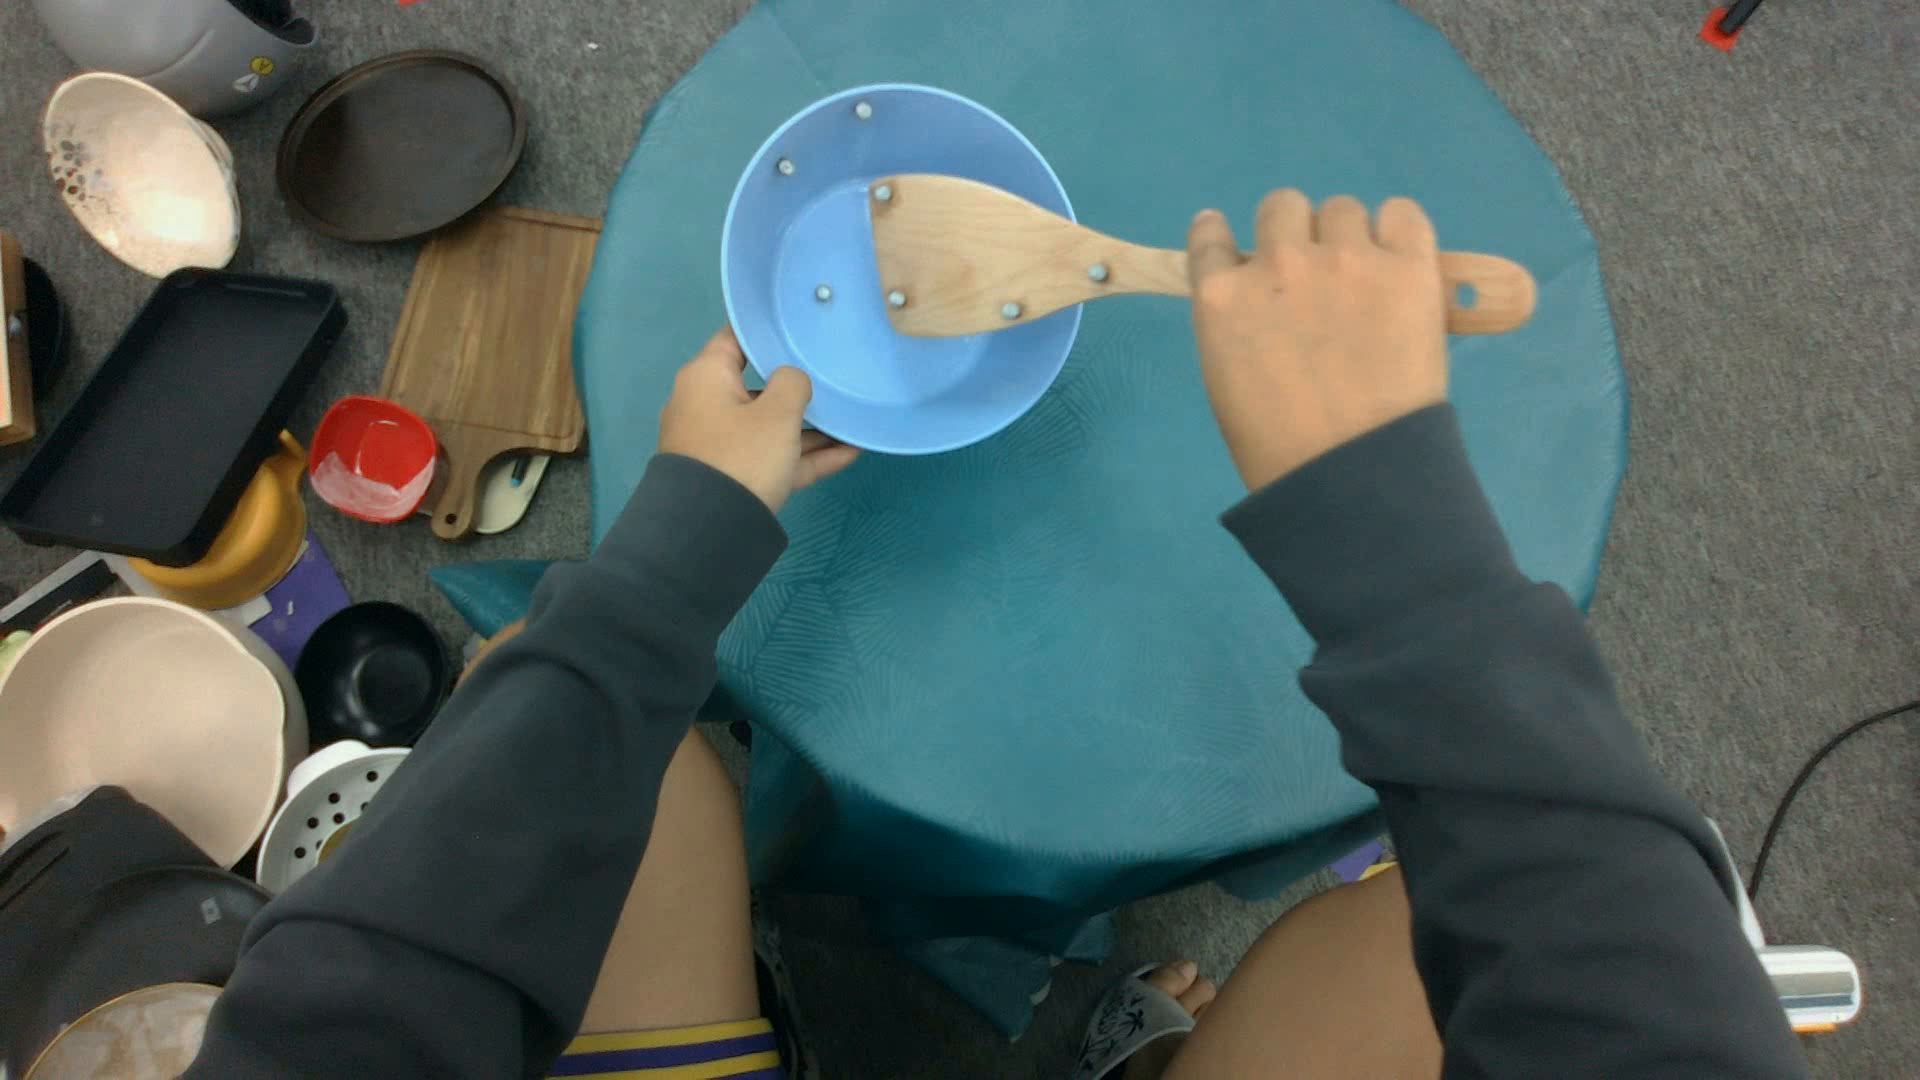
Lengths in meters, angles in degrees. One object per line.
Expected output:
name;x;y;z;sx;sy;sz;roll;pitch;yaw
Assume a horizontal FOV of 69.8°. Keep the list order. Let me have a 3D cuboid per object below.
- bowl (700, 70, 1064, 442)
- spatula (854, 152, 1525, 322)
bowl;-0.041;-0.135;0.684;0.176;0.070;0.176;-1;92;-14
spatula;0.070;-0.117;0.572;0.016;0.327;0.080;-15;112;-44
